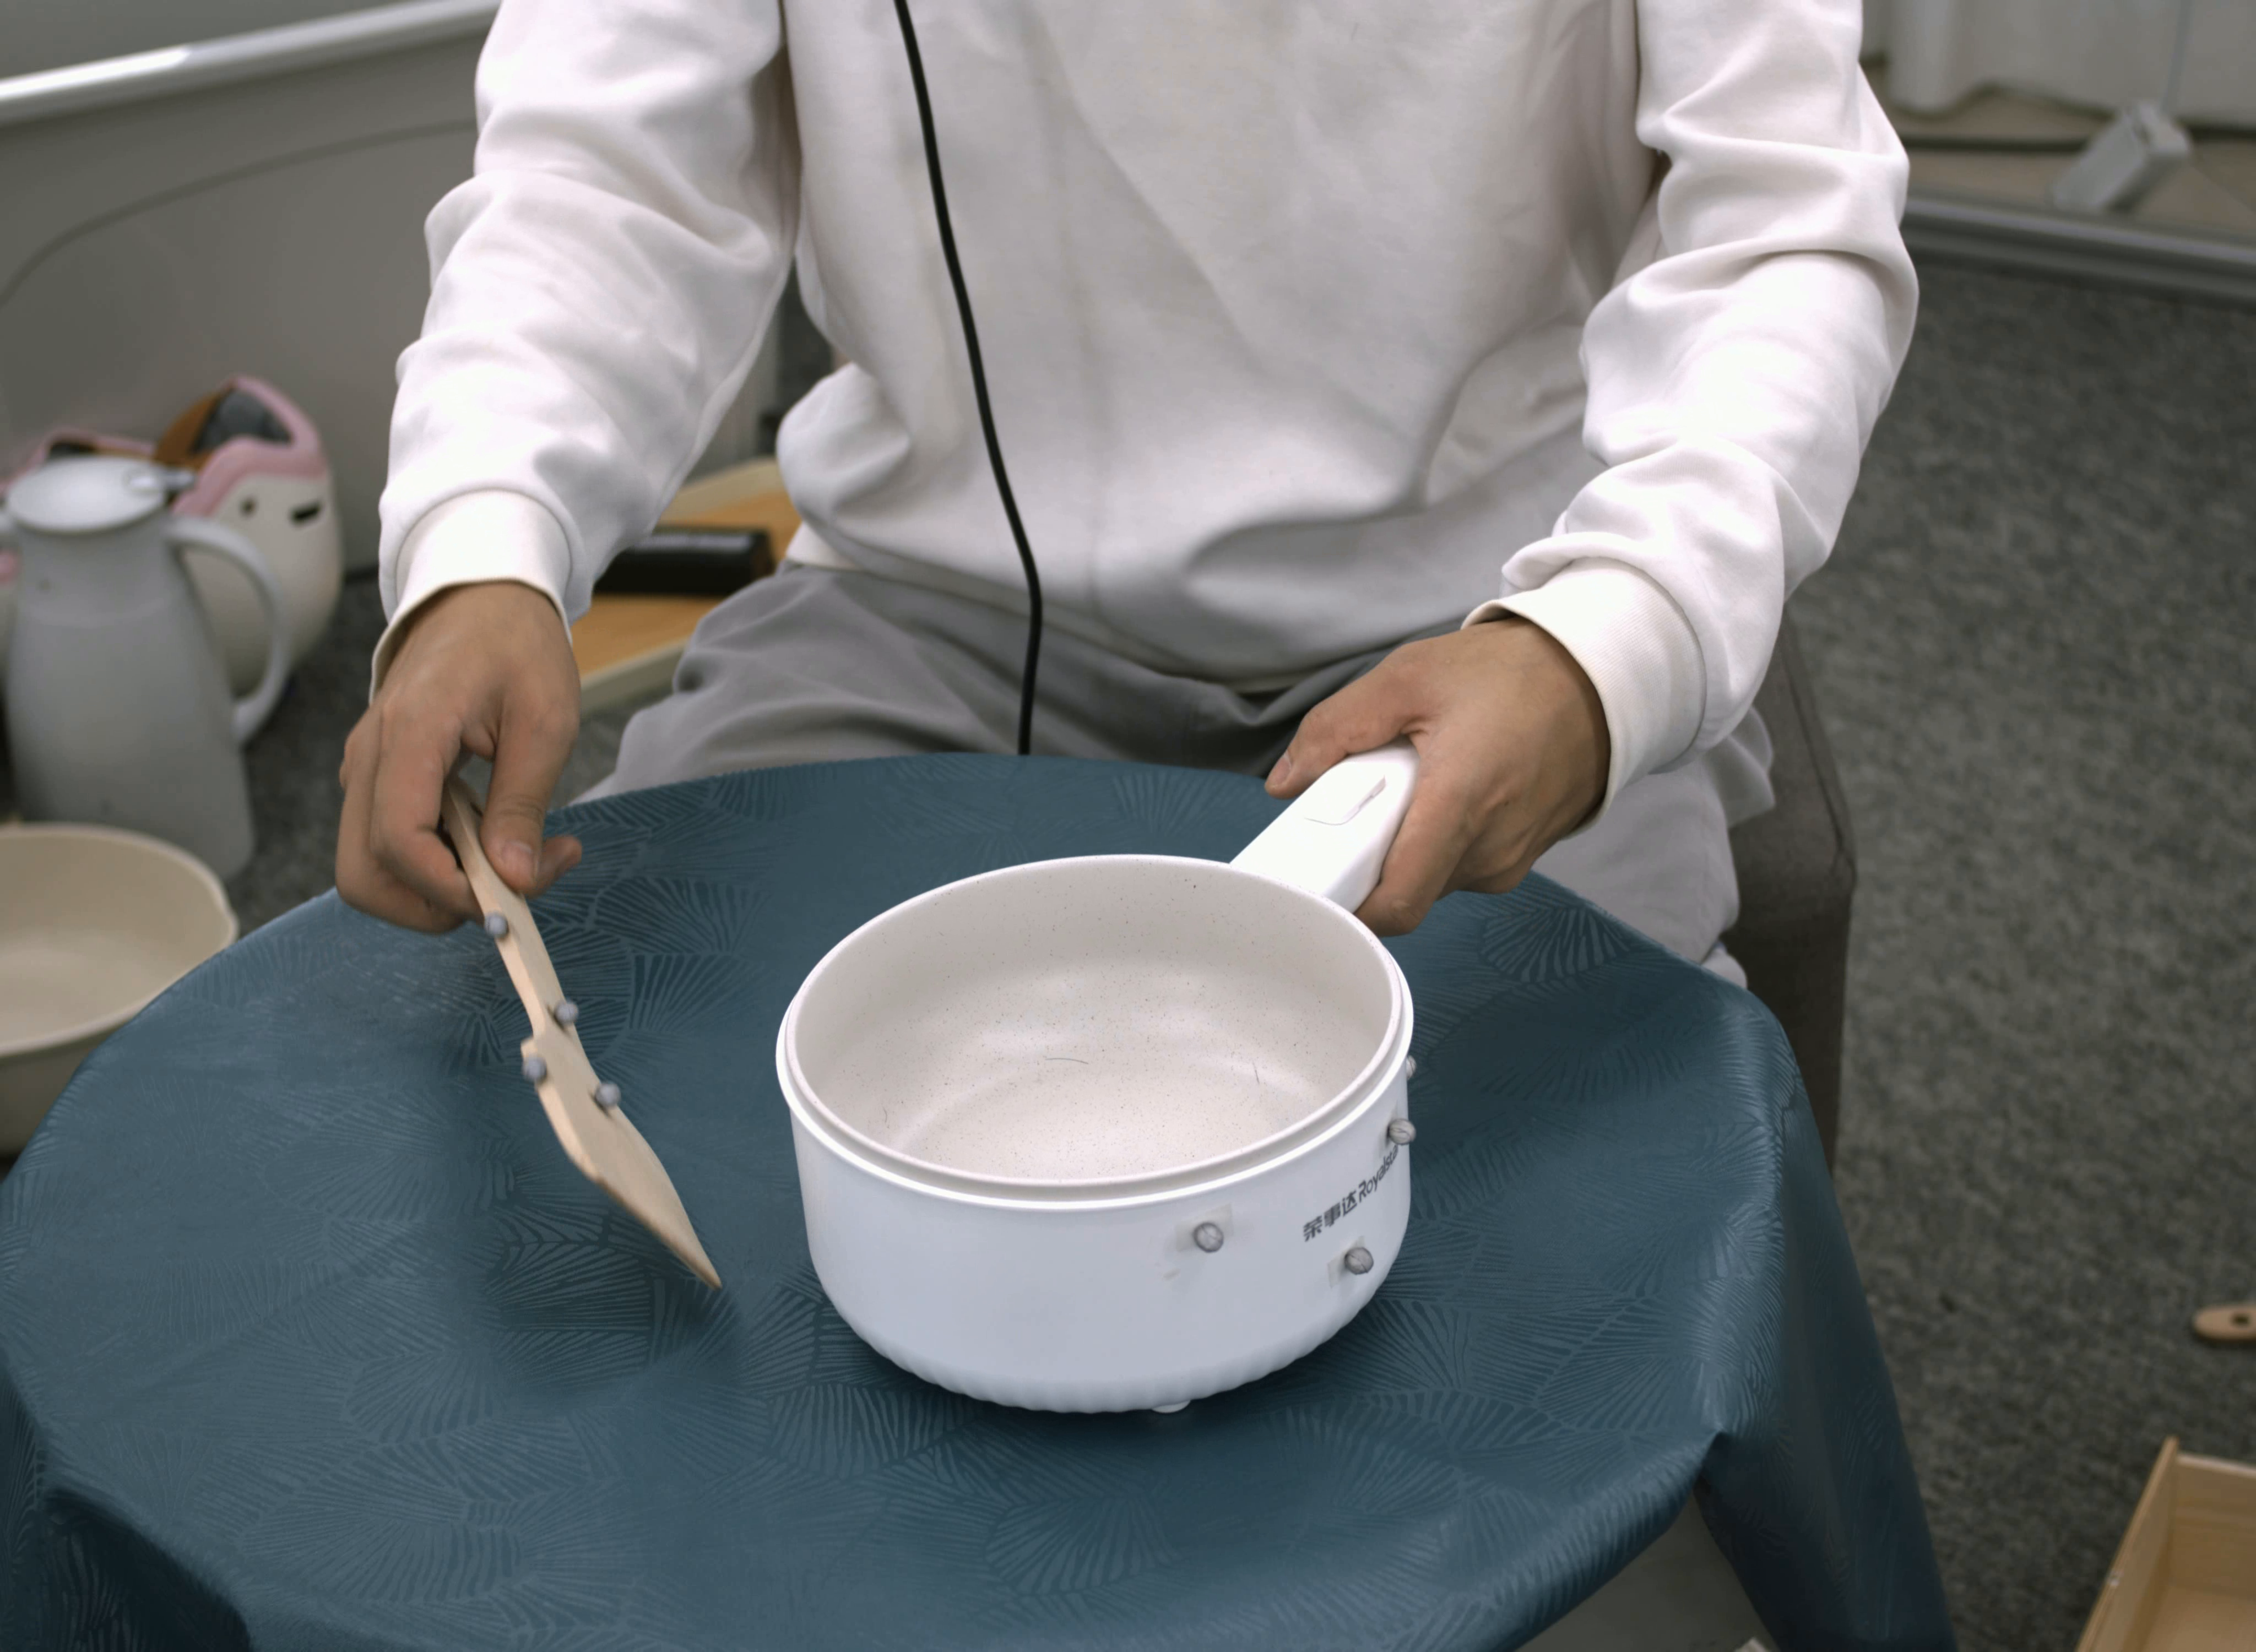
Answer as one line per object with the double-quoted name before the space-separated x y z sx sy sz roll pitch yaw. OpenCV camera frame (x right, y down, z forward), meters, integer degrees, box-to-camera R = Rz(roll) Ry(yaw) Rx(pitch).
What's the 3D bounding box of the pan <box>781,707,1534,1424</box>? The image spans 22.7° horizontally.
"pan" 0.034 0.076 1.848 0.200 0.101 0.360 10 30 30
